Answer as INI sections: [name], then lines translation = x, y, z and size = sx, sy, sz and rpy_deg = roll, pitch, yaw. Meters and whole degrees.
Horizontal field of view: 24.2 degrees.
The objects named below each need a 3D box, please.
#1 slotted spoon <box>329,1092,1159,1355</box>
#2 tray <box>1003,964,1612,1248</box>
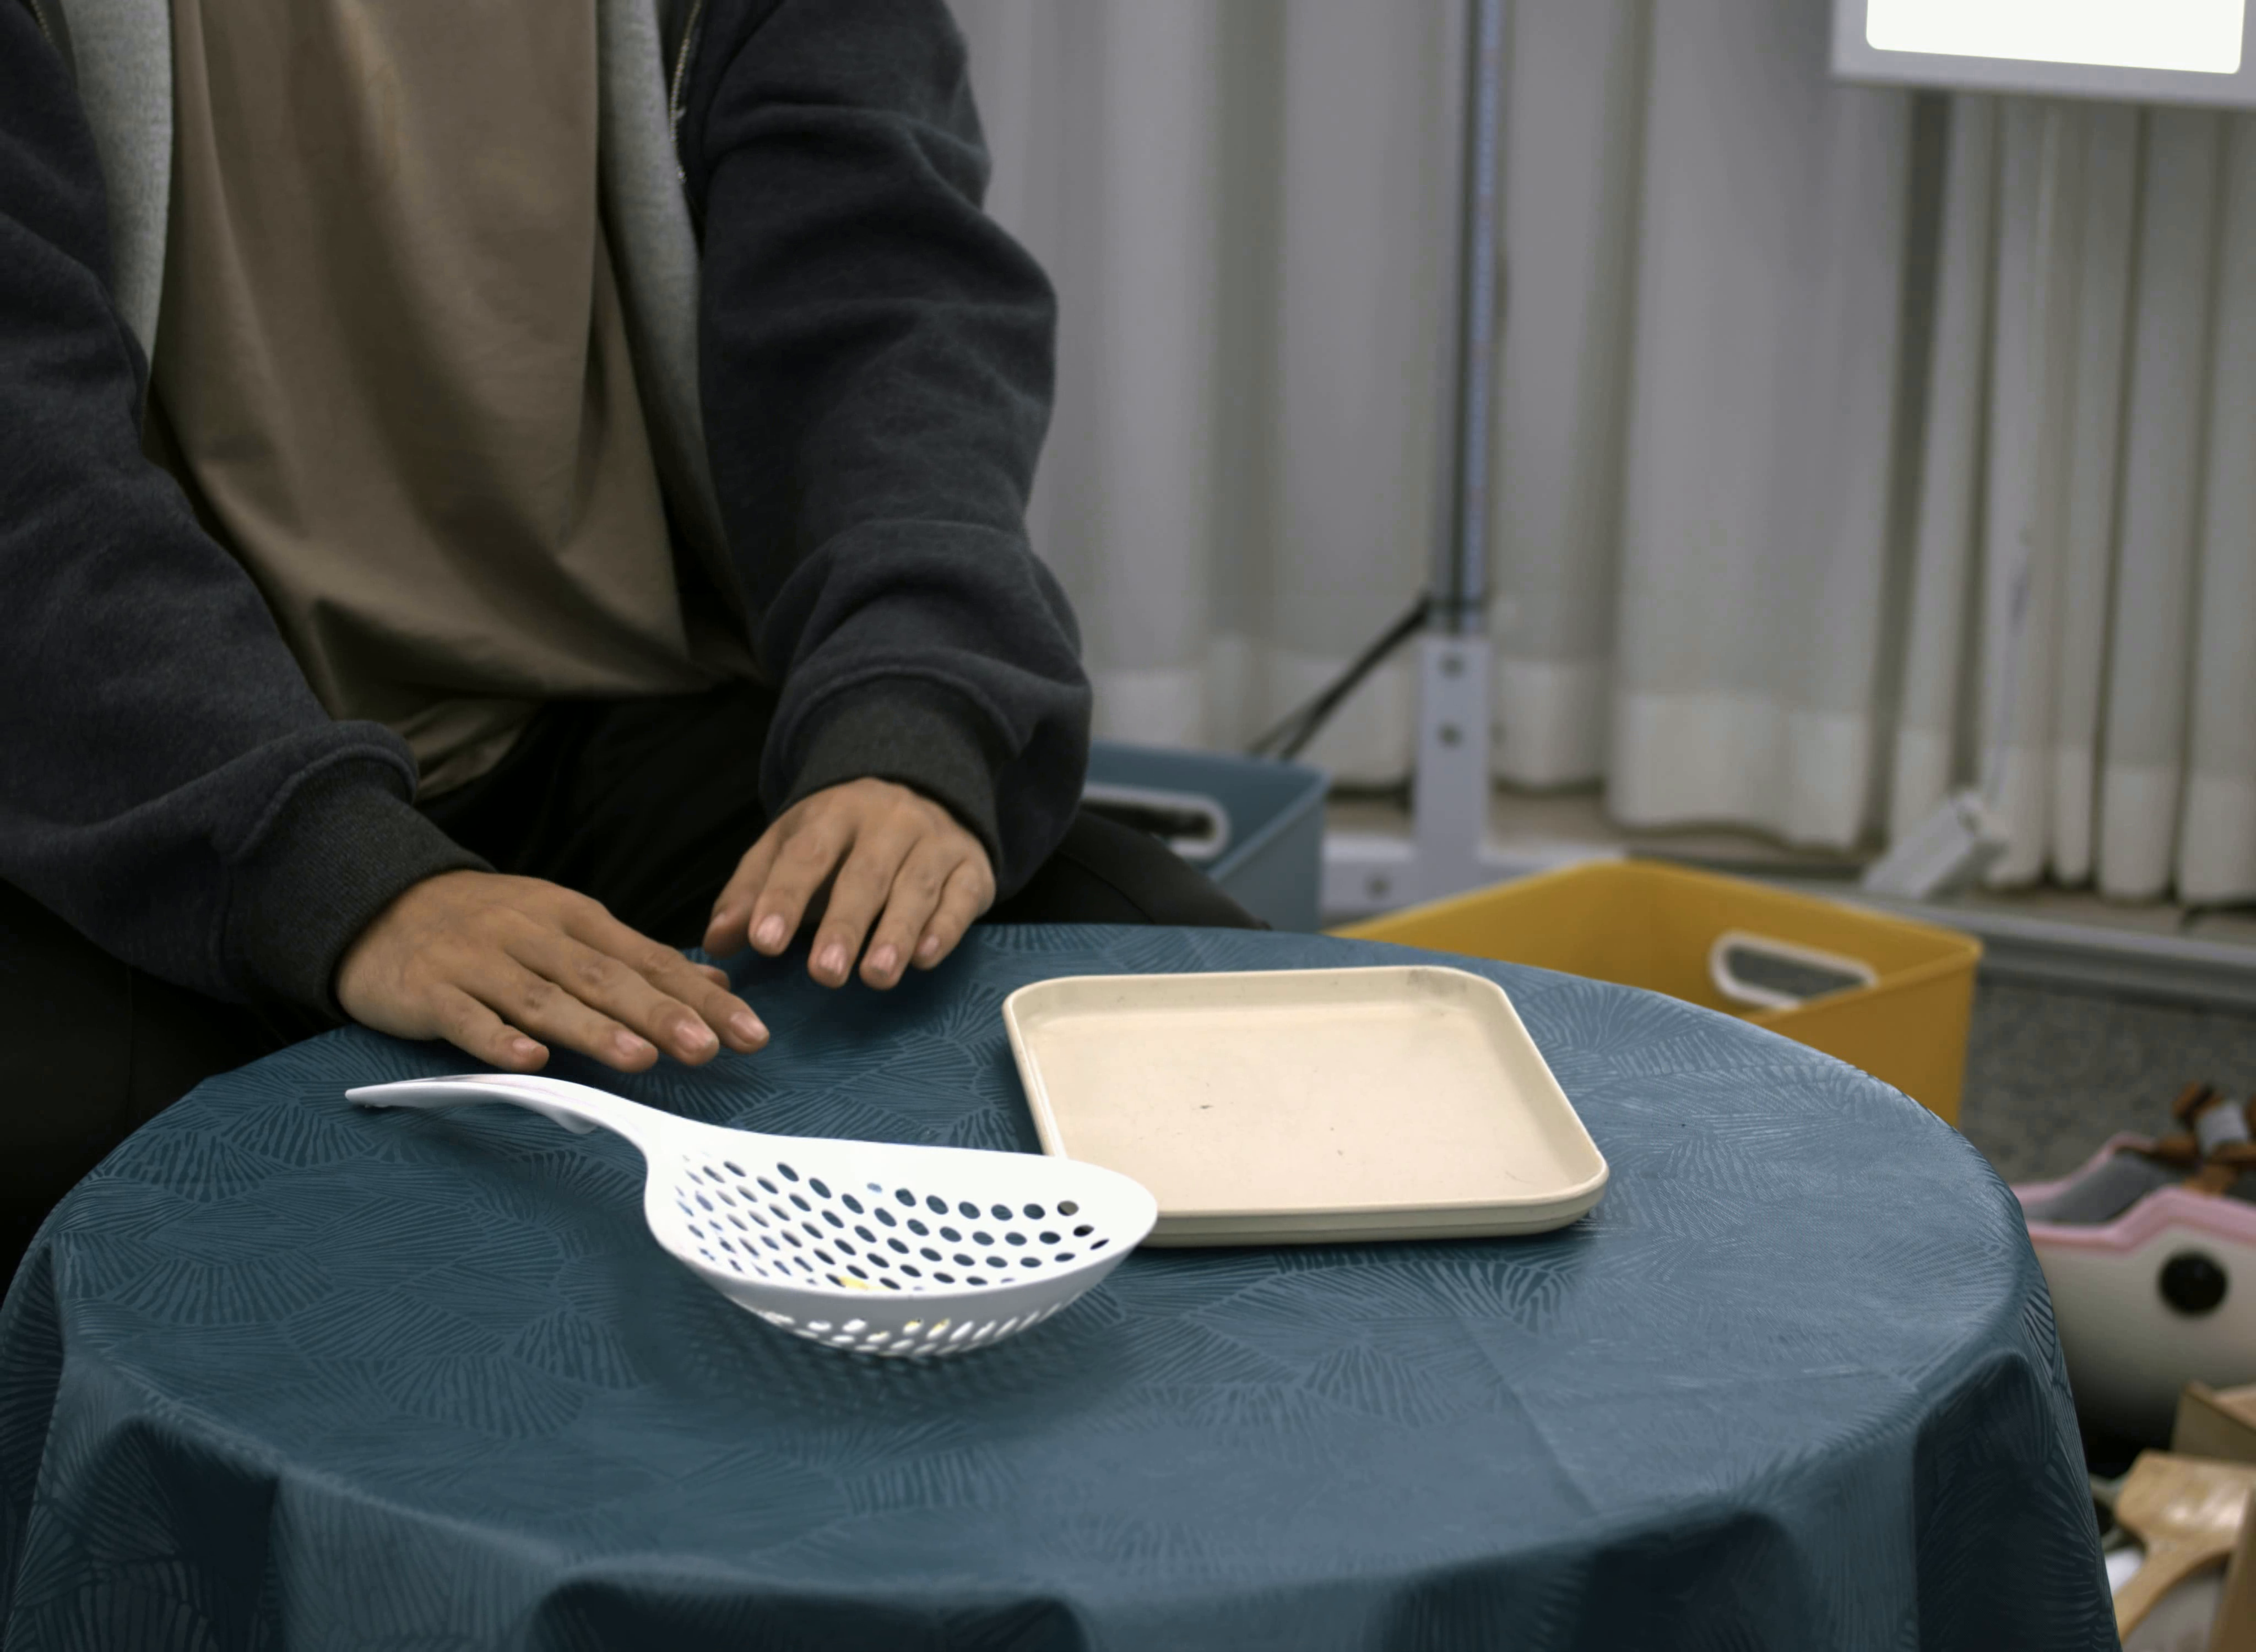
[slotted spoon]
translation = -0.132, 0.105, 1.570
size = 0.137, 0.051, 0.343
rpy_deg = -17, 23, -39
[tray]
translation = 0.053, 0.088, 1.679
size = 0.171, 0.017, 0.238
rpy_deg = -2, 16, -6
